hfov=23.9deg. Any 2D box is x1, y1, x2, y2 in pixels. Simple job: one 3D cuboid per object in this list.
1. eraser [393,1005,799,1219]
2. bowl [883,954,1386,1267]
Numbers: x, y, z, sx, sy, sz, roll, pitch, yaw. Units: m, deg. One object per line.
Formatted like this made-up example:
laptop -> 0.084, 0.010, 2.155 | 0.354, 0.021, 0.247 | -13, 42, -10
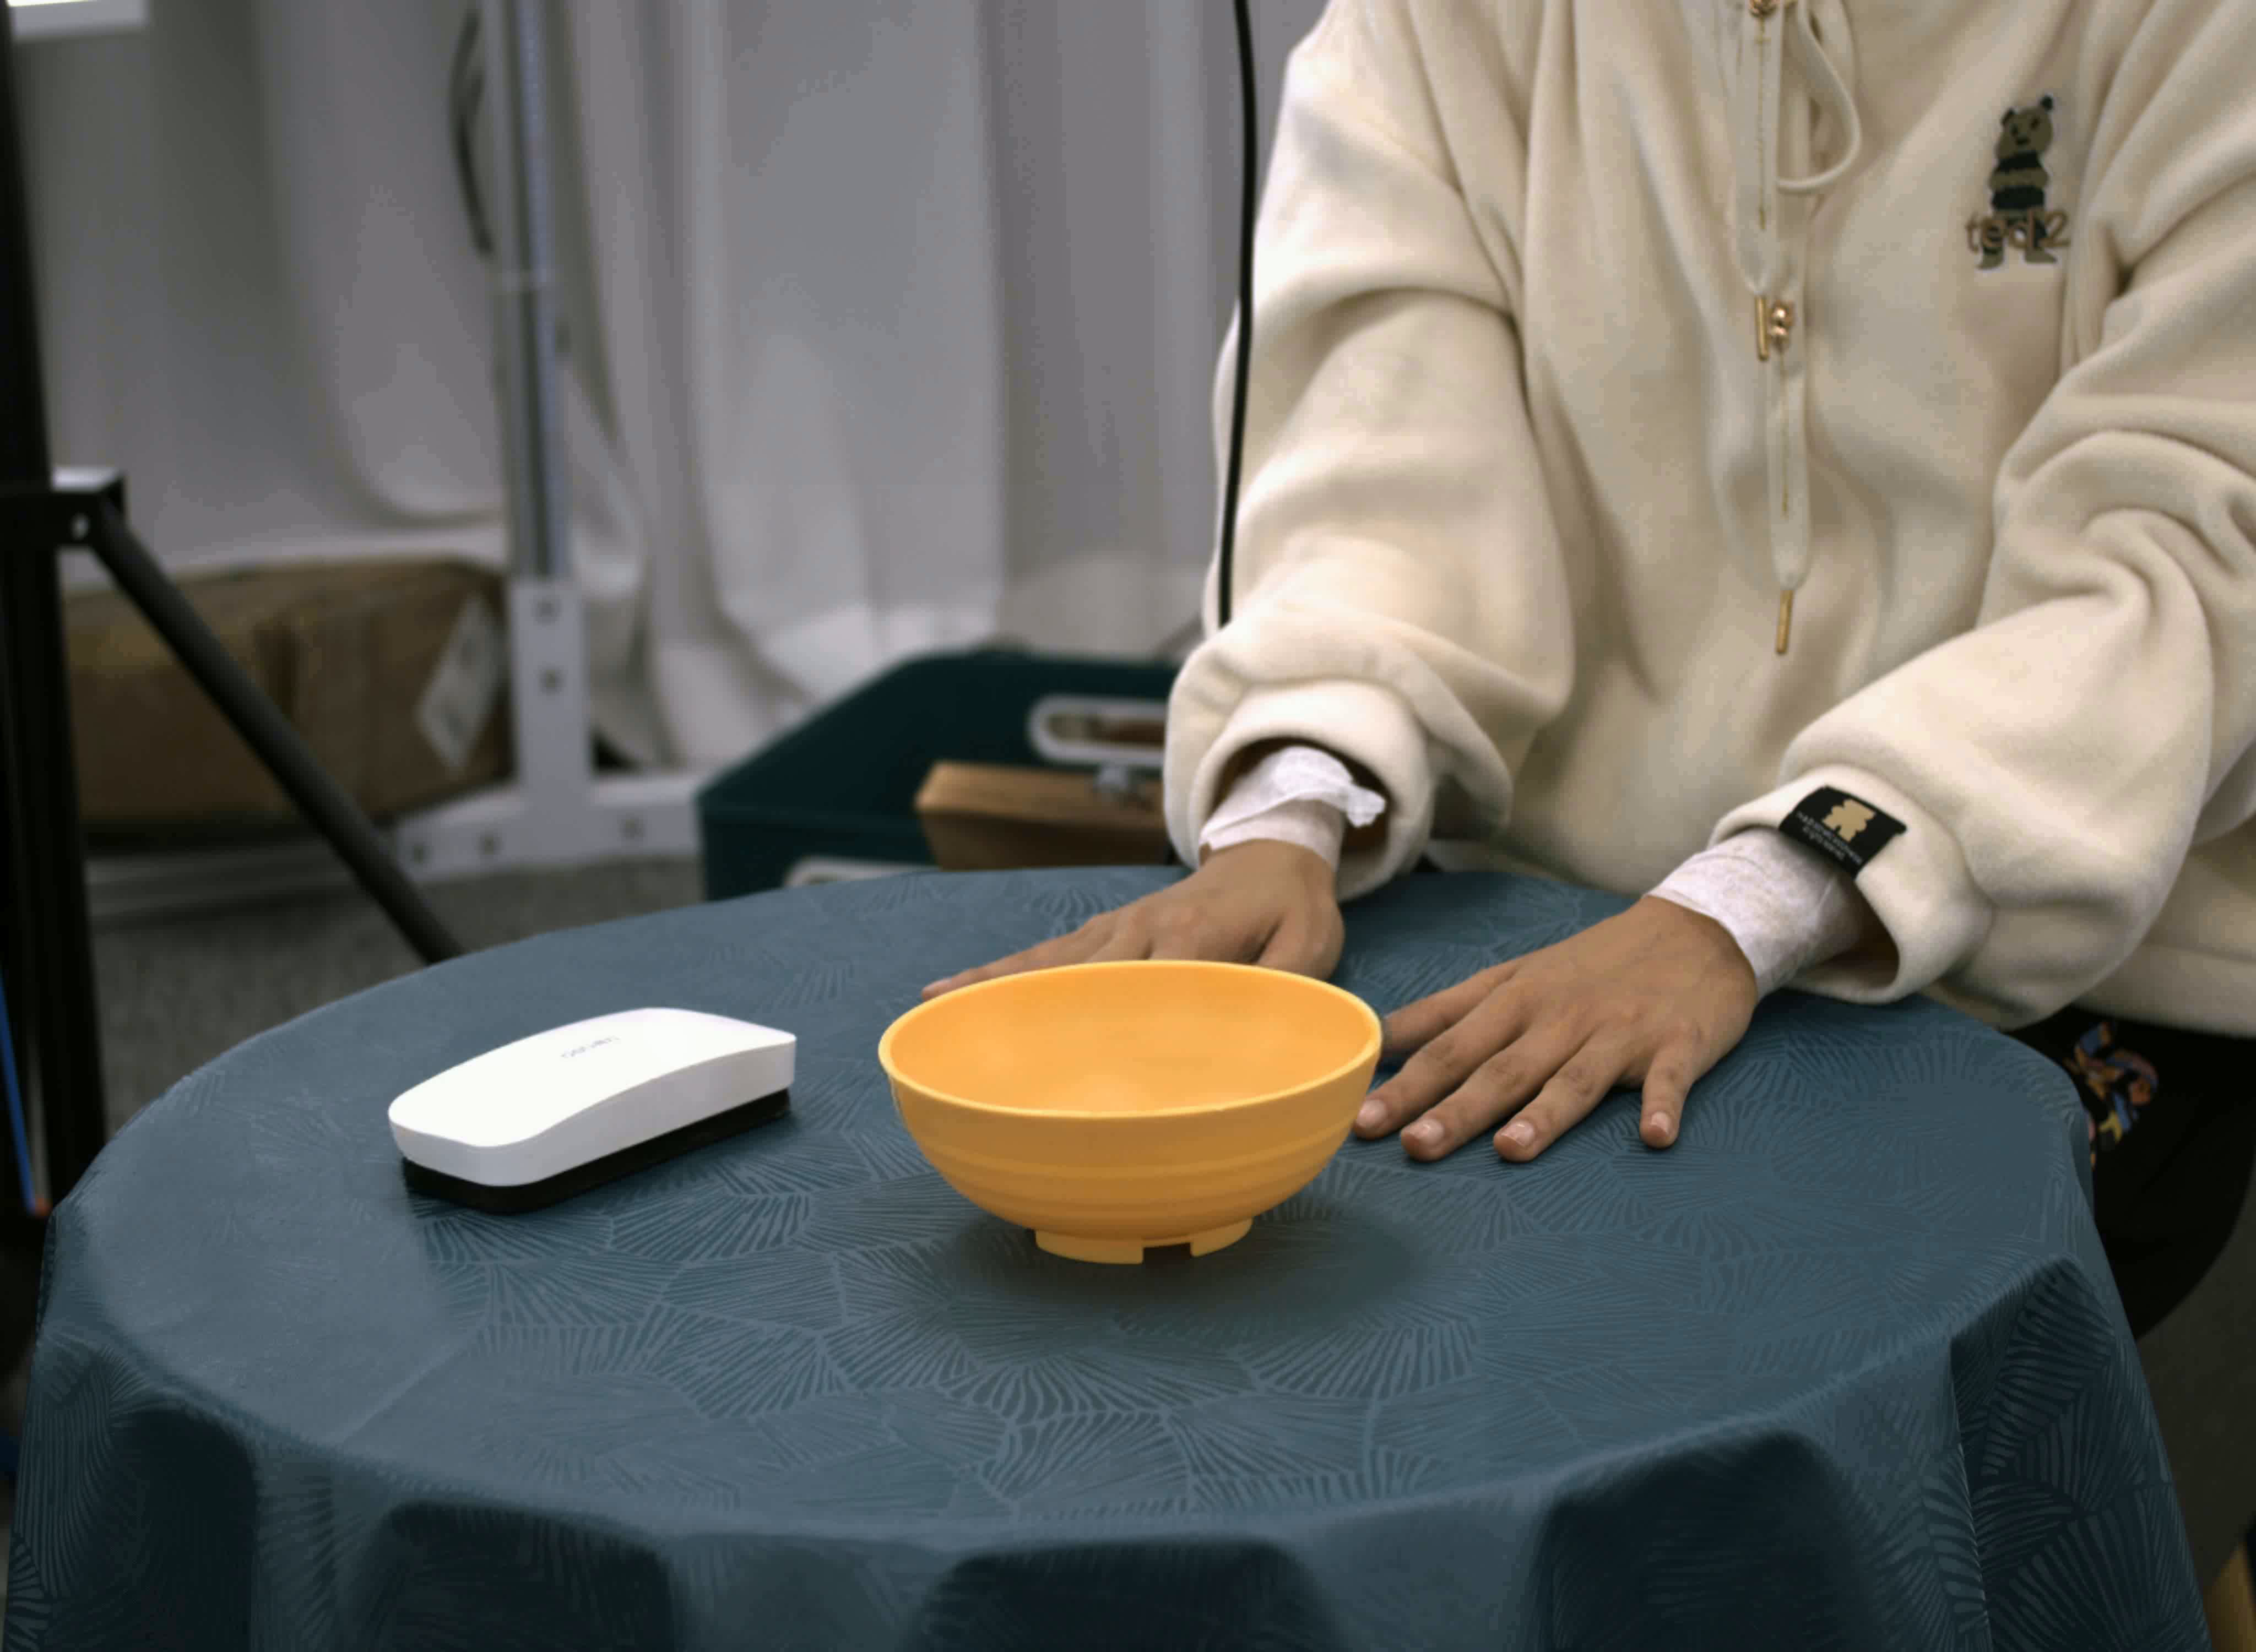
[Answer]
eraser -> -0.159, 0.083, 1.616 | 0.065, 0.034, 0.128 | 12, 21, 40
bowl -> 0.004, 0.087, 1.523 | 0.144, 0.060, 0.146 | -5, 17, 0
